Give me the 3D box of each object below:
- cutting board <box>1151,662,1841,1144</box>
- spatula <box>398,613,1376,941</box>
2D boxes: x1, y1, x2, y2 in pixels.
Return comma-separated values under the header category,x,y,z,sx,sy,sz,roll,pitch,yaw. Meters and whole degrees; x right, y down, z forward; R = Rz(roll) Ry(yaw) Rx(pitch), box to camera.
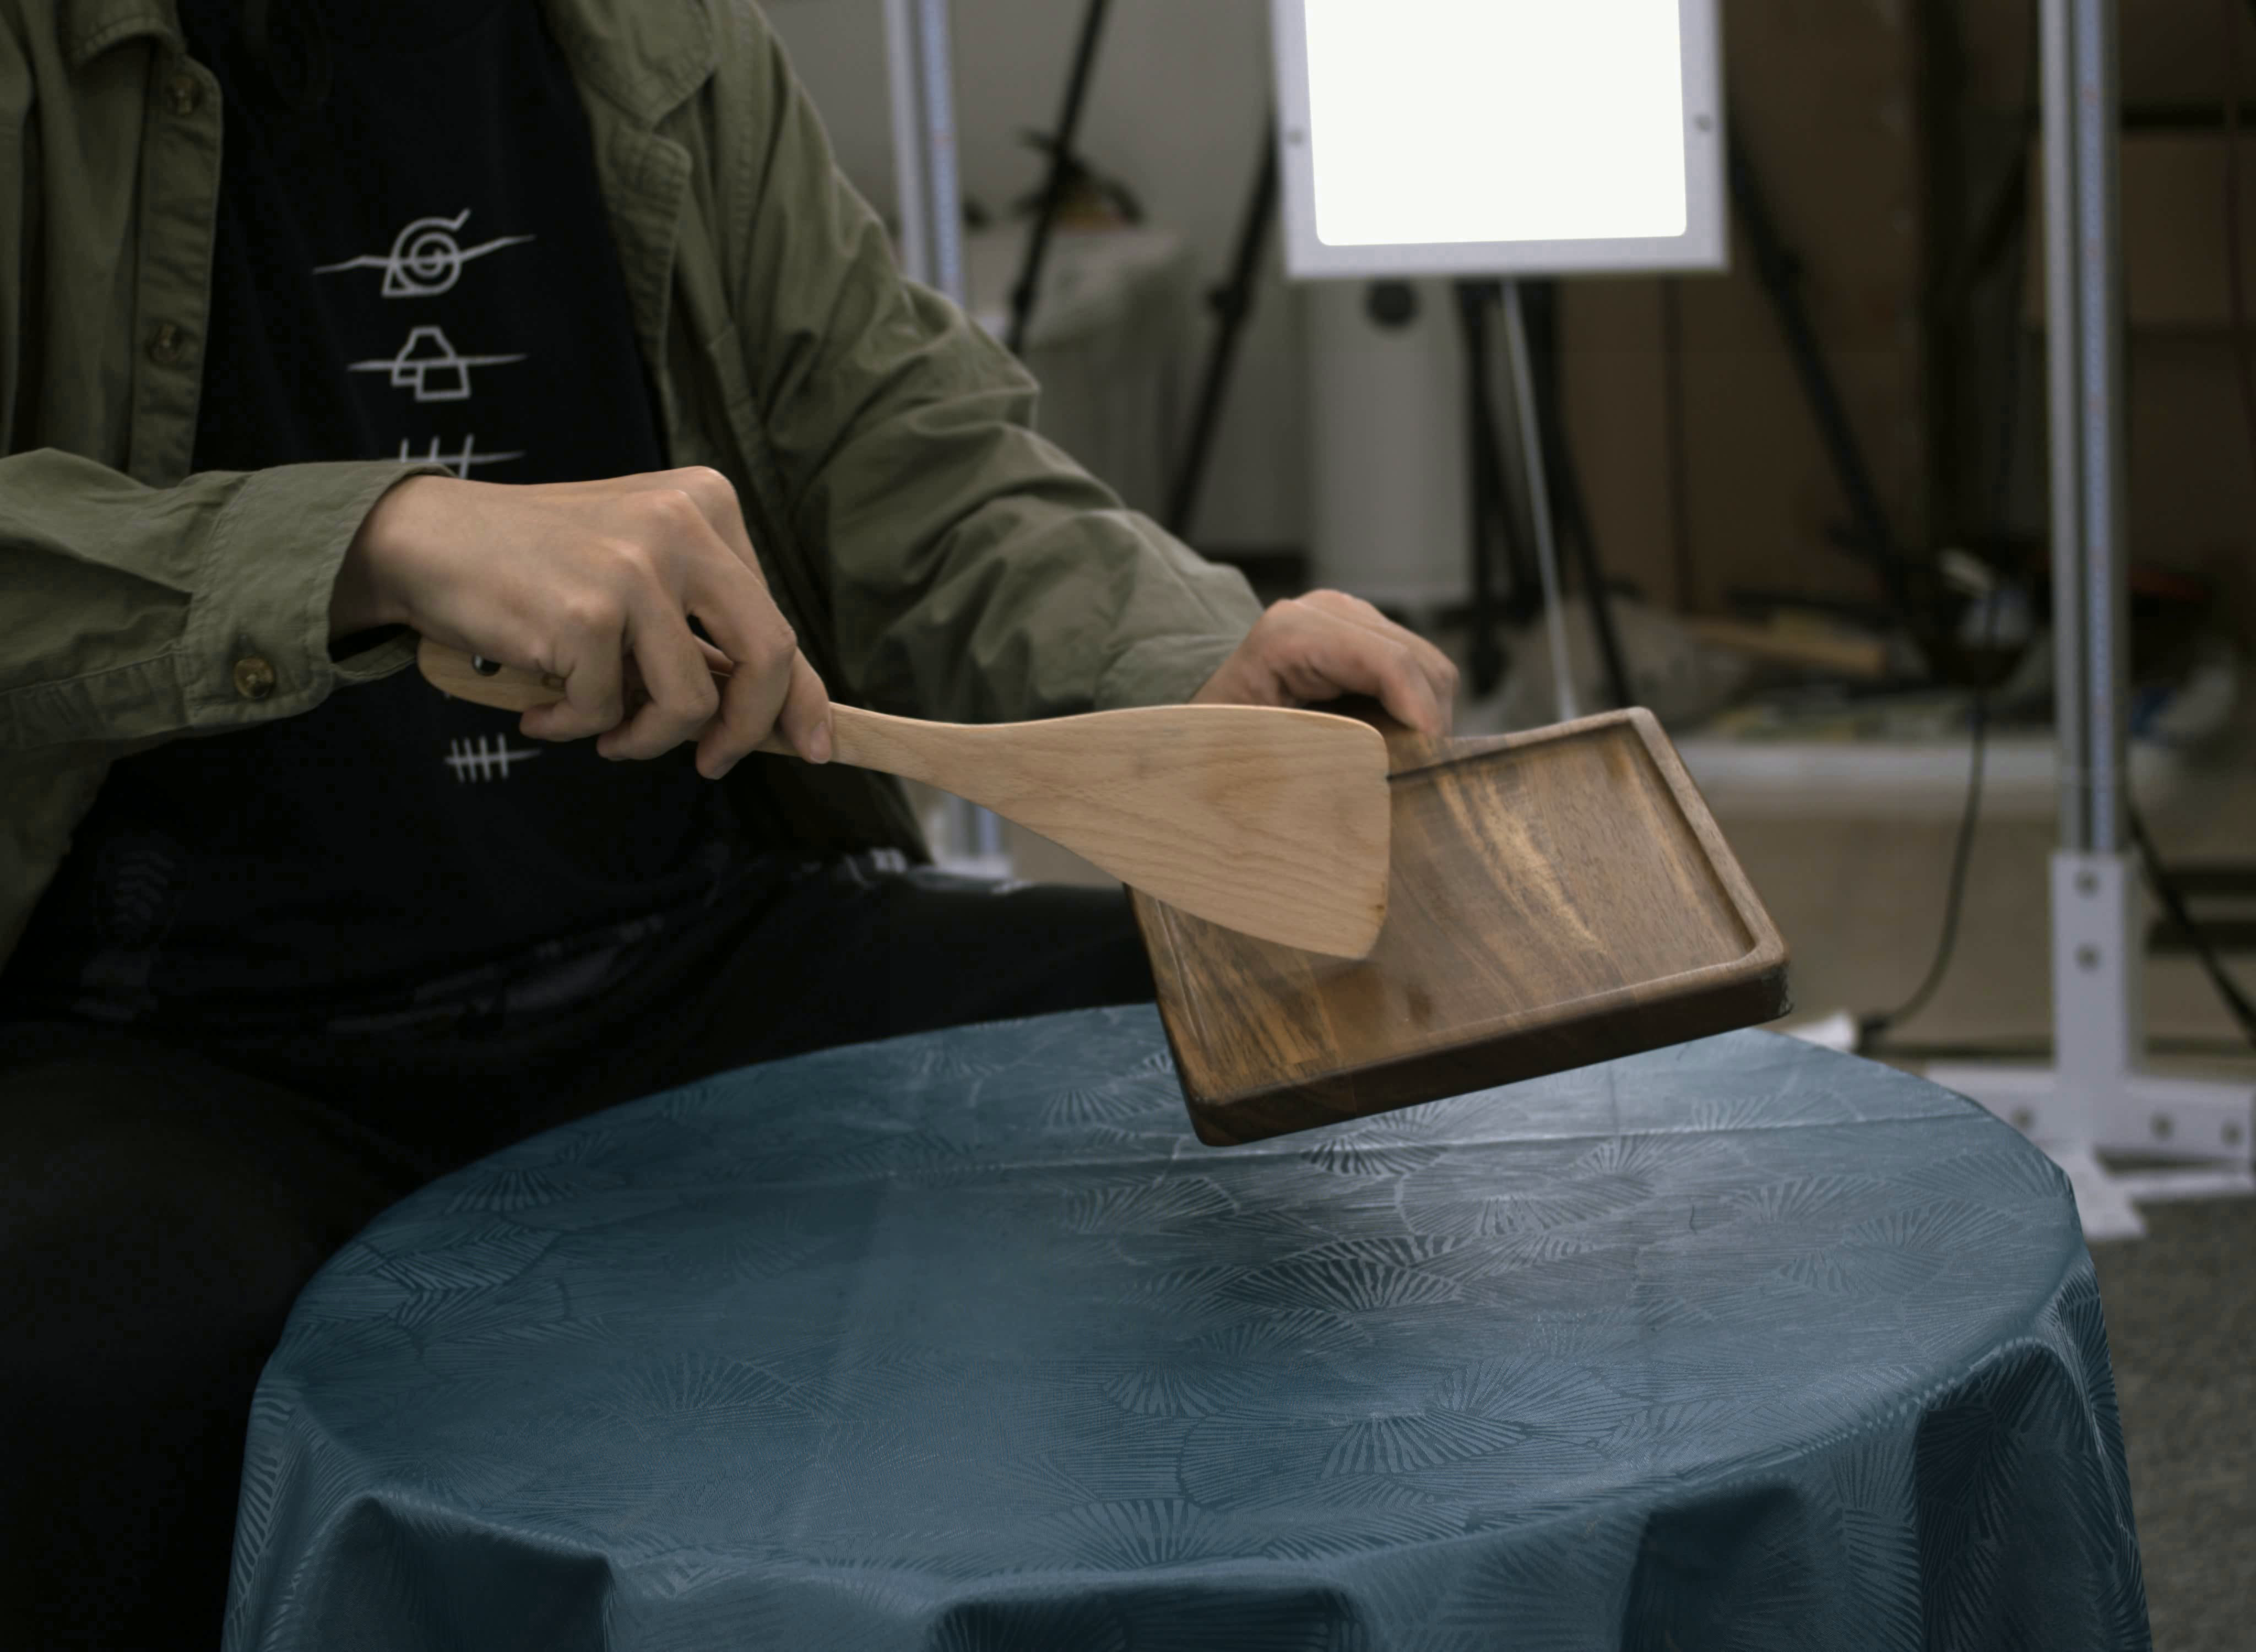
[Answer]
category,x,y,z,sx,sy,sz,roll,pitch,yaw
cutting board,0.111,0.009,1.865,0.201,0.023,0.352,-14,21,1
spatula,-0.076,-0.029,1.786,0.327,0.080,0.016,11,14,1
